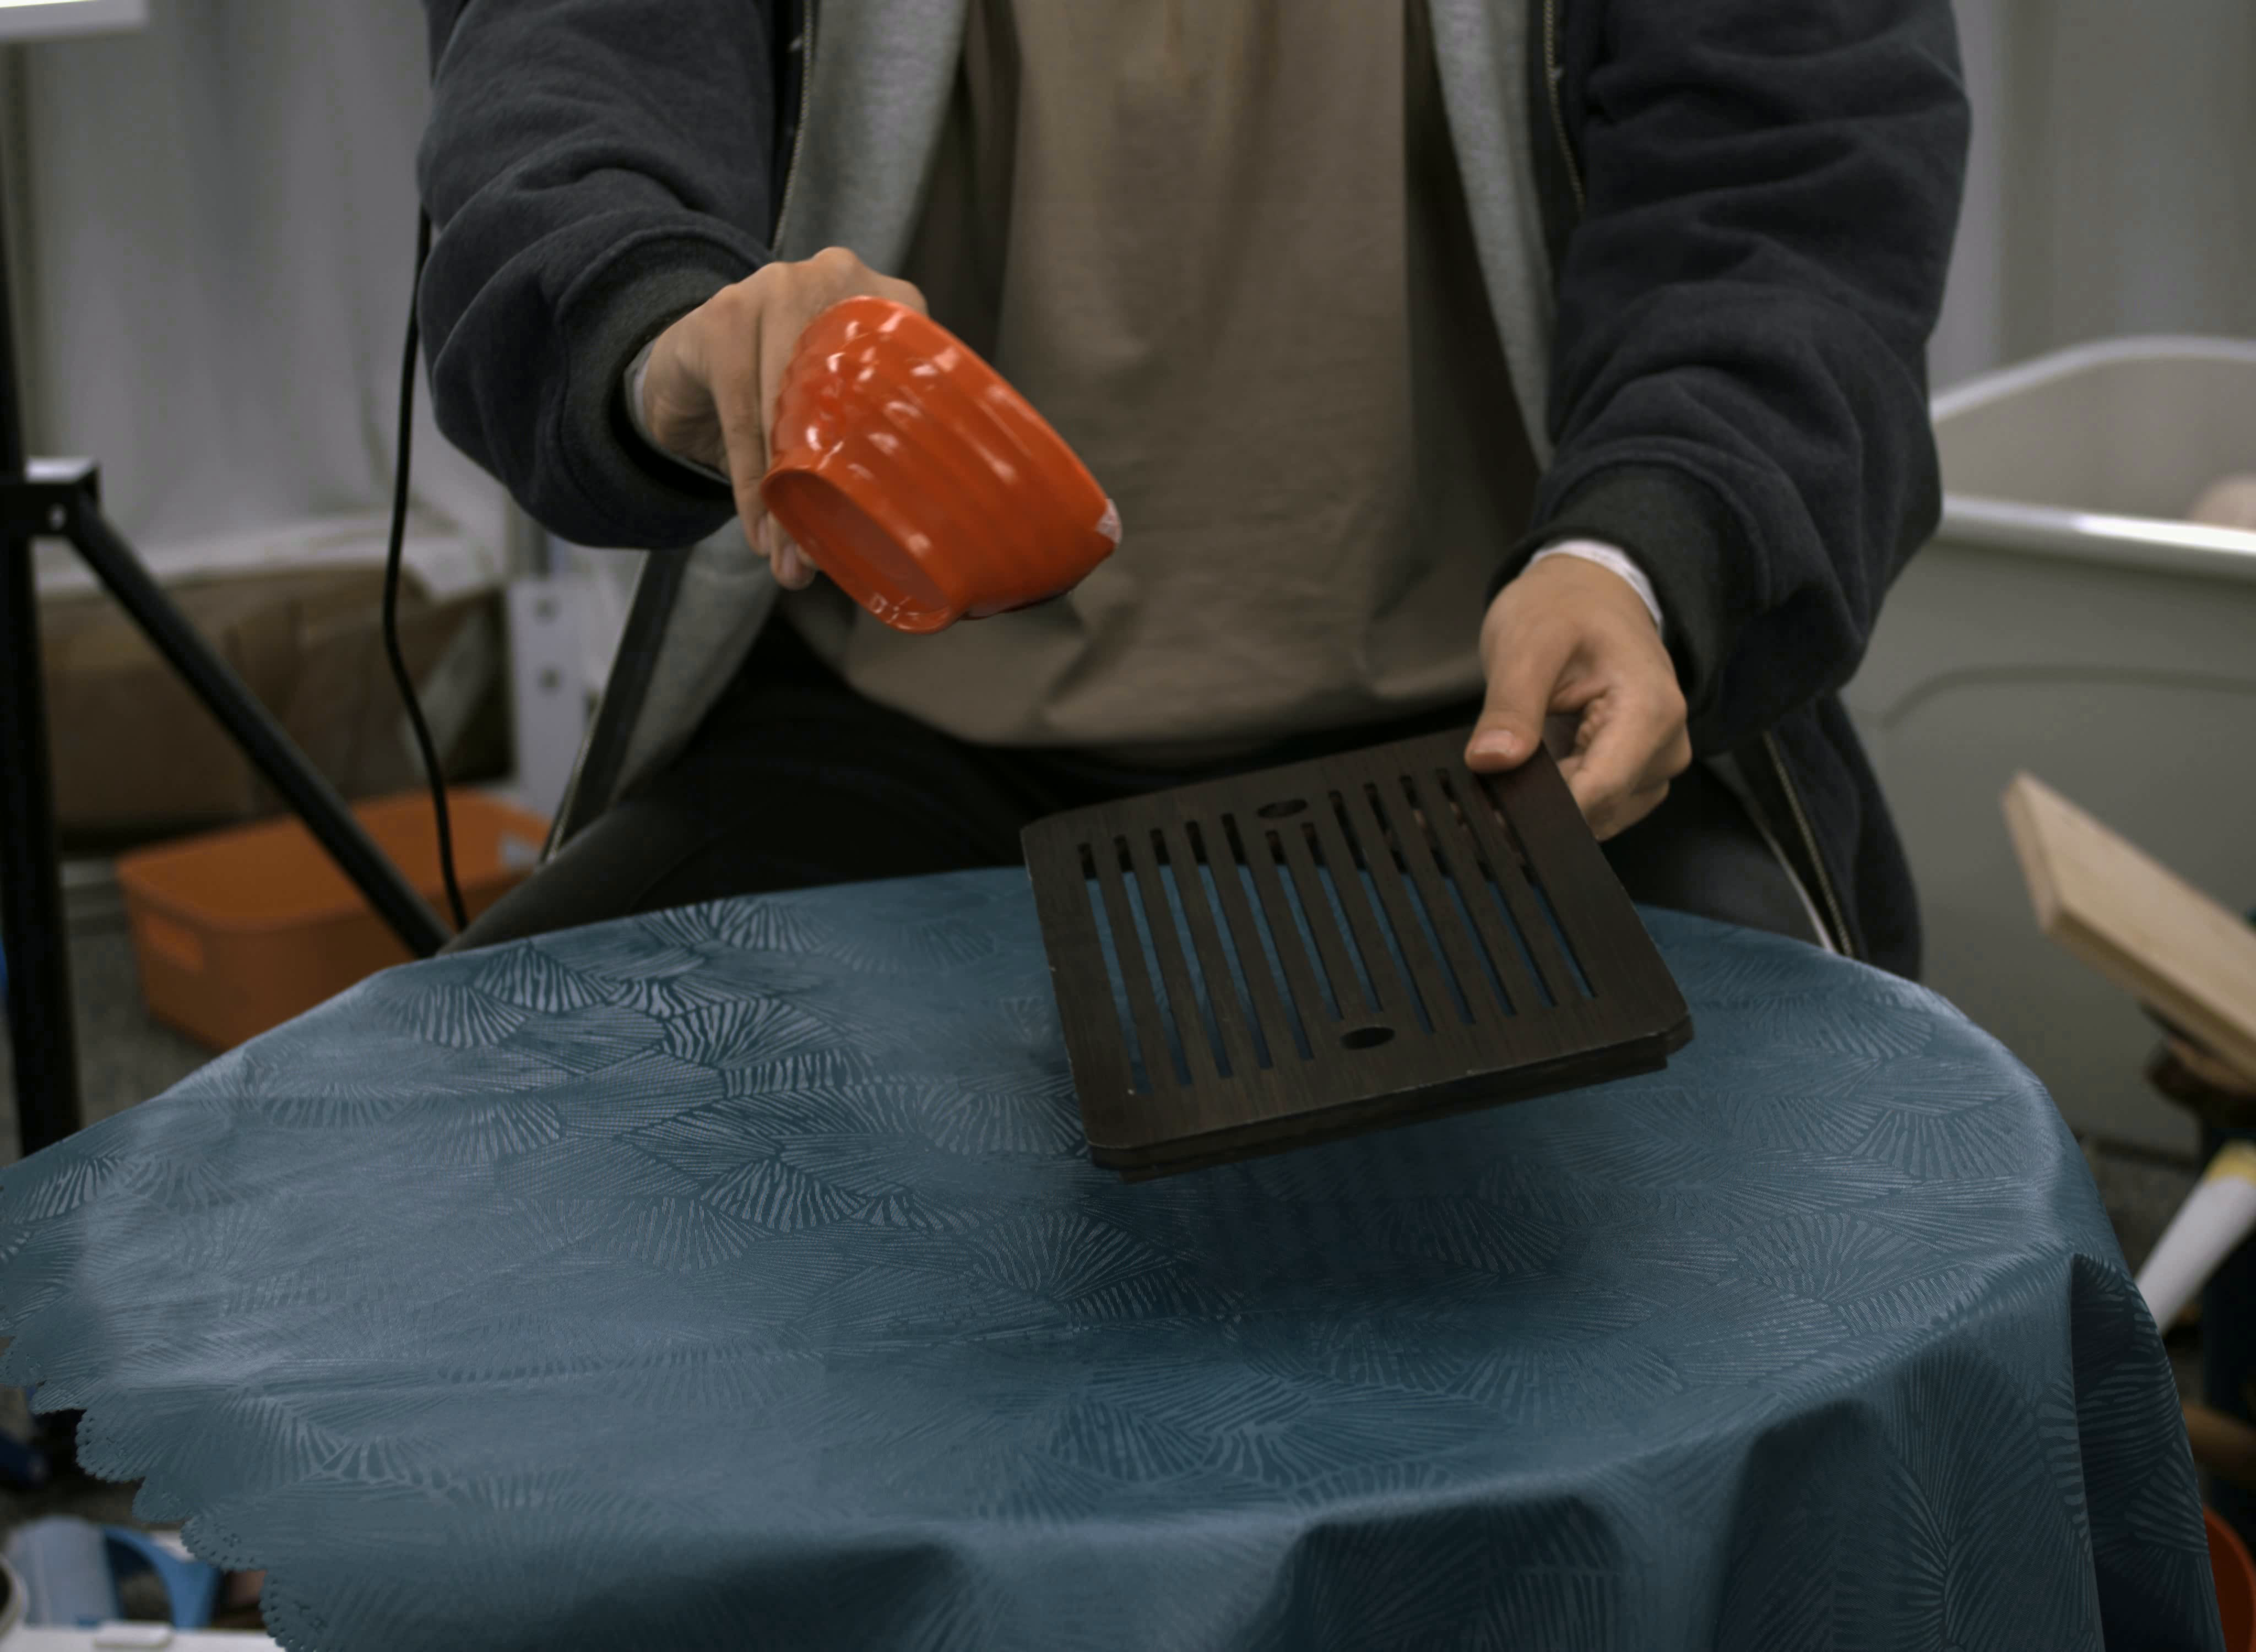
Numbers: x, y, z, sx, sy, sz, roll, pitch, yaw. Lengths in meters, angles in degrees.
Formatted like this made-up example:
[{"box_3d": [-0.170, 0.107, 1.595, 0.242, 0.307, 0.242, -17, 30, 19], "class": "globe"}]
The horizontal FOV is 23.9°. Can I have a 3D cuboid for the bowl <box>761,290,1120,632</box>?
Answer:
[{"box_3d": [-0.063, -0.098, 1.545, 0.051, 0.116, 0.121, -50, 35, -16], "class": "bowl"}]

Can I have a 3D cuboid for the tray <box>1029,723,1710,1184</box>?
[{"box_3d": [0.064, 0.034, 1.574, 0.169, 0.018, 0.308, -13, 18, -1], "class": "tray"}]
